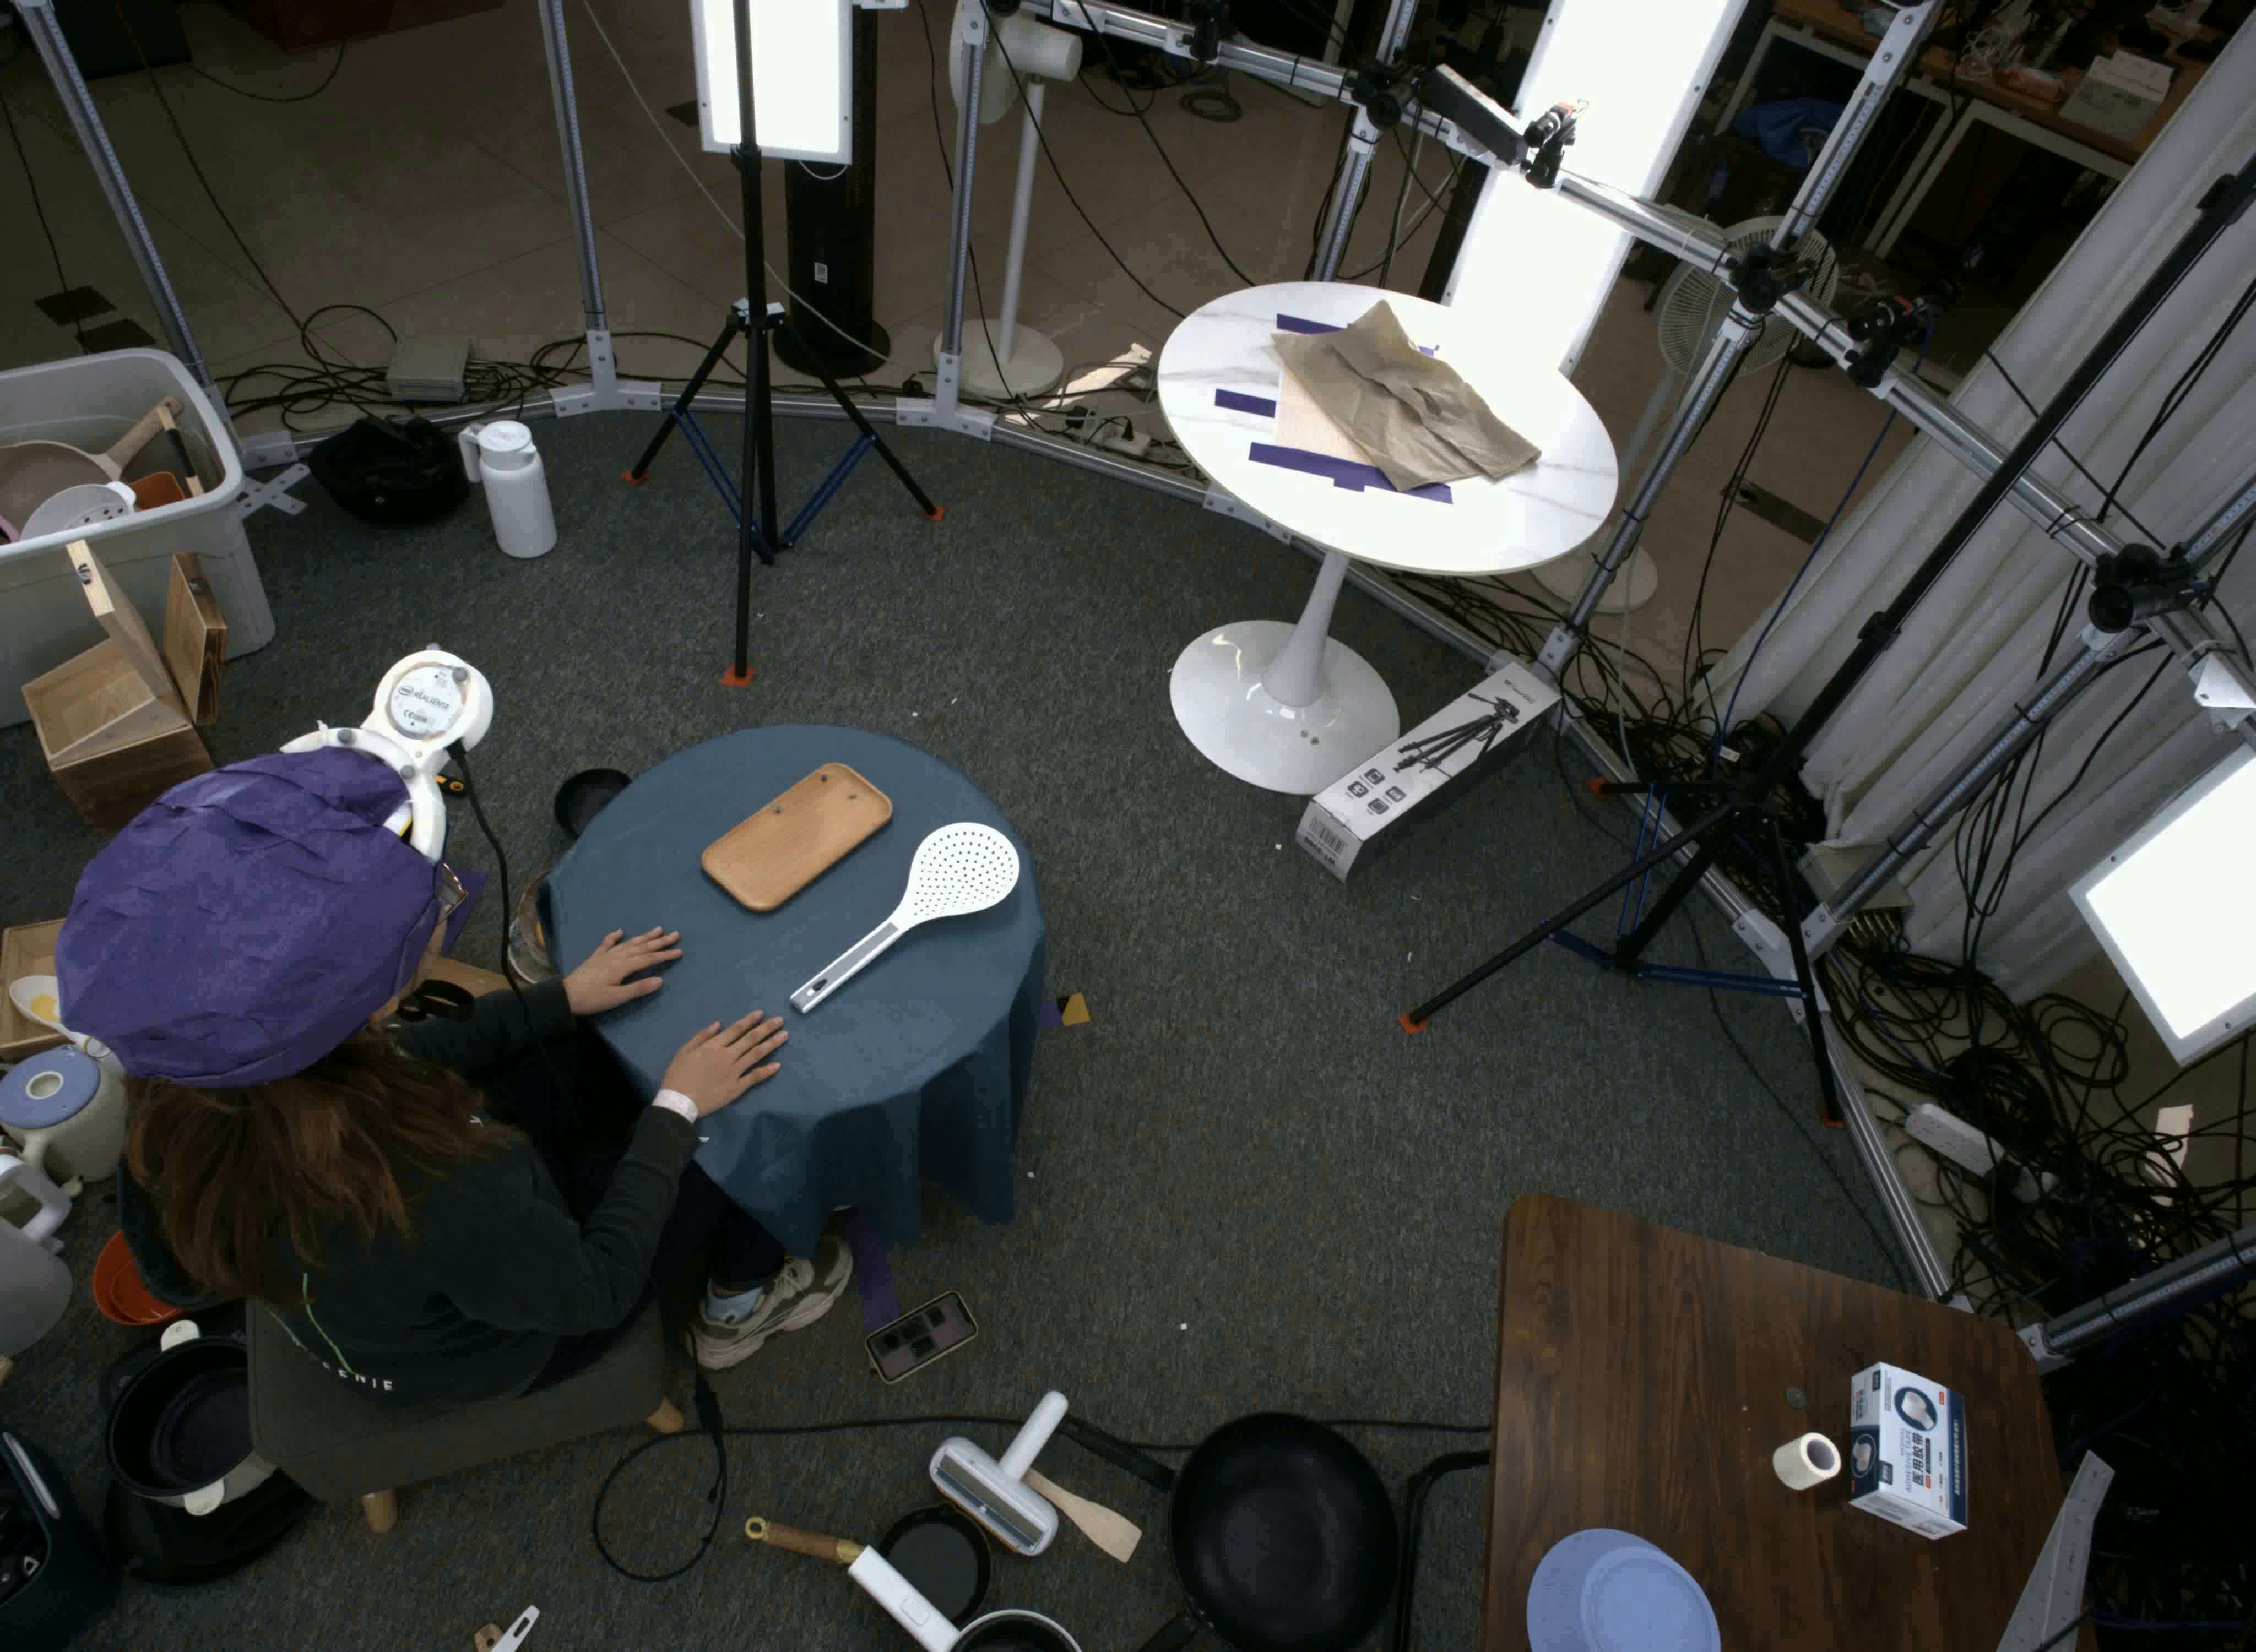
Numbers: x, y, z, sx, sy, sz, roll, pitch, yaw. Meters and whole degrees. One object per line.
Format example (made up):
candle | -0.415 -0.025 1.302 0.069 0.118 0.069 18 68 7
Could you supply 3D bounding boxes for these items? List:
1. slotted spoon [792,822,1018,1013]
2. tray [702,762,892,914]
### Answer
slotted spoon | -0.283 0.116 1.650 0.133 0.047 0.350 39 55 18
tray | -0.433 0.012 1.707 0.127 0.023 0.251 37 55 16
